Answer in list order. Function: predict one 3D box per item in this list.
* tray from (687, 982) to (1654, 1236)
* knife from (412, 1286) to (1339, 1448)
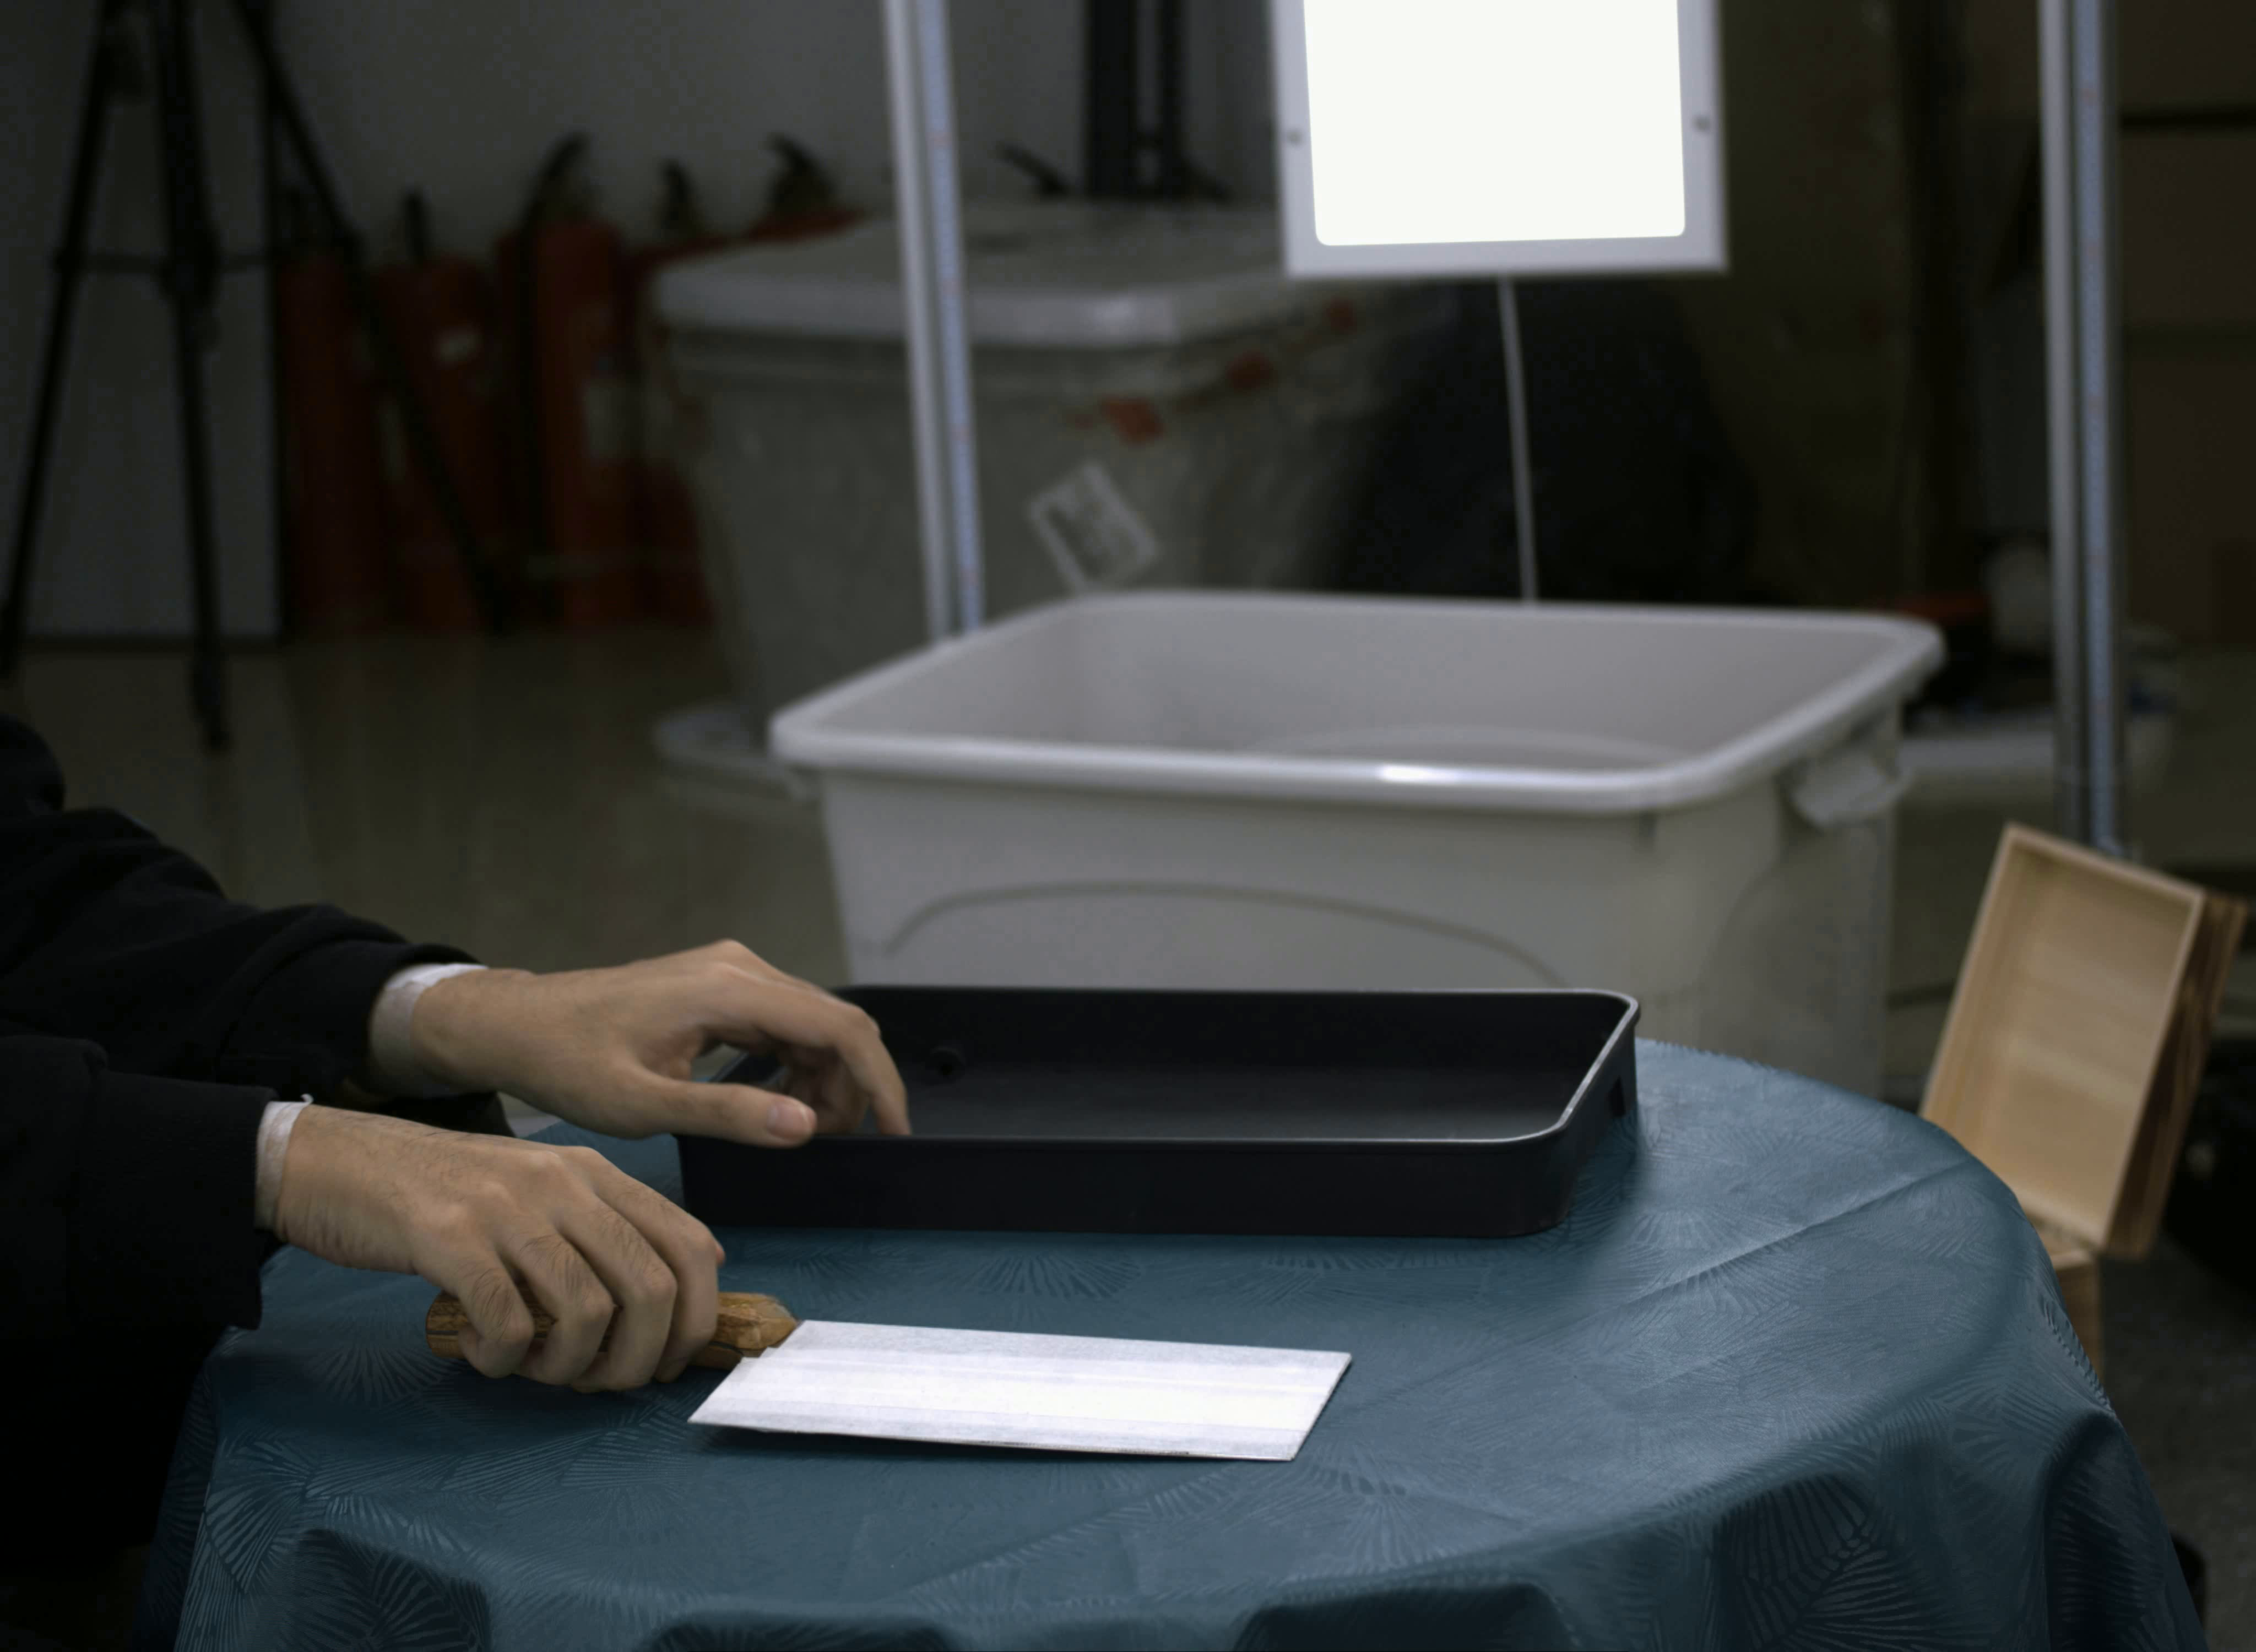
[{"bbox_3d":[0.019,0.098,1.931,0.321,0.037,0.181,-1,15,16],"label":"tray"},{"bbox_3d":[-0.087,0.171,1.714,0.309,0.021,0.091,2,16,16],"label":"knife"}]
